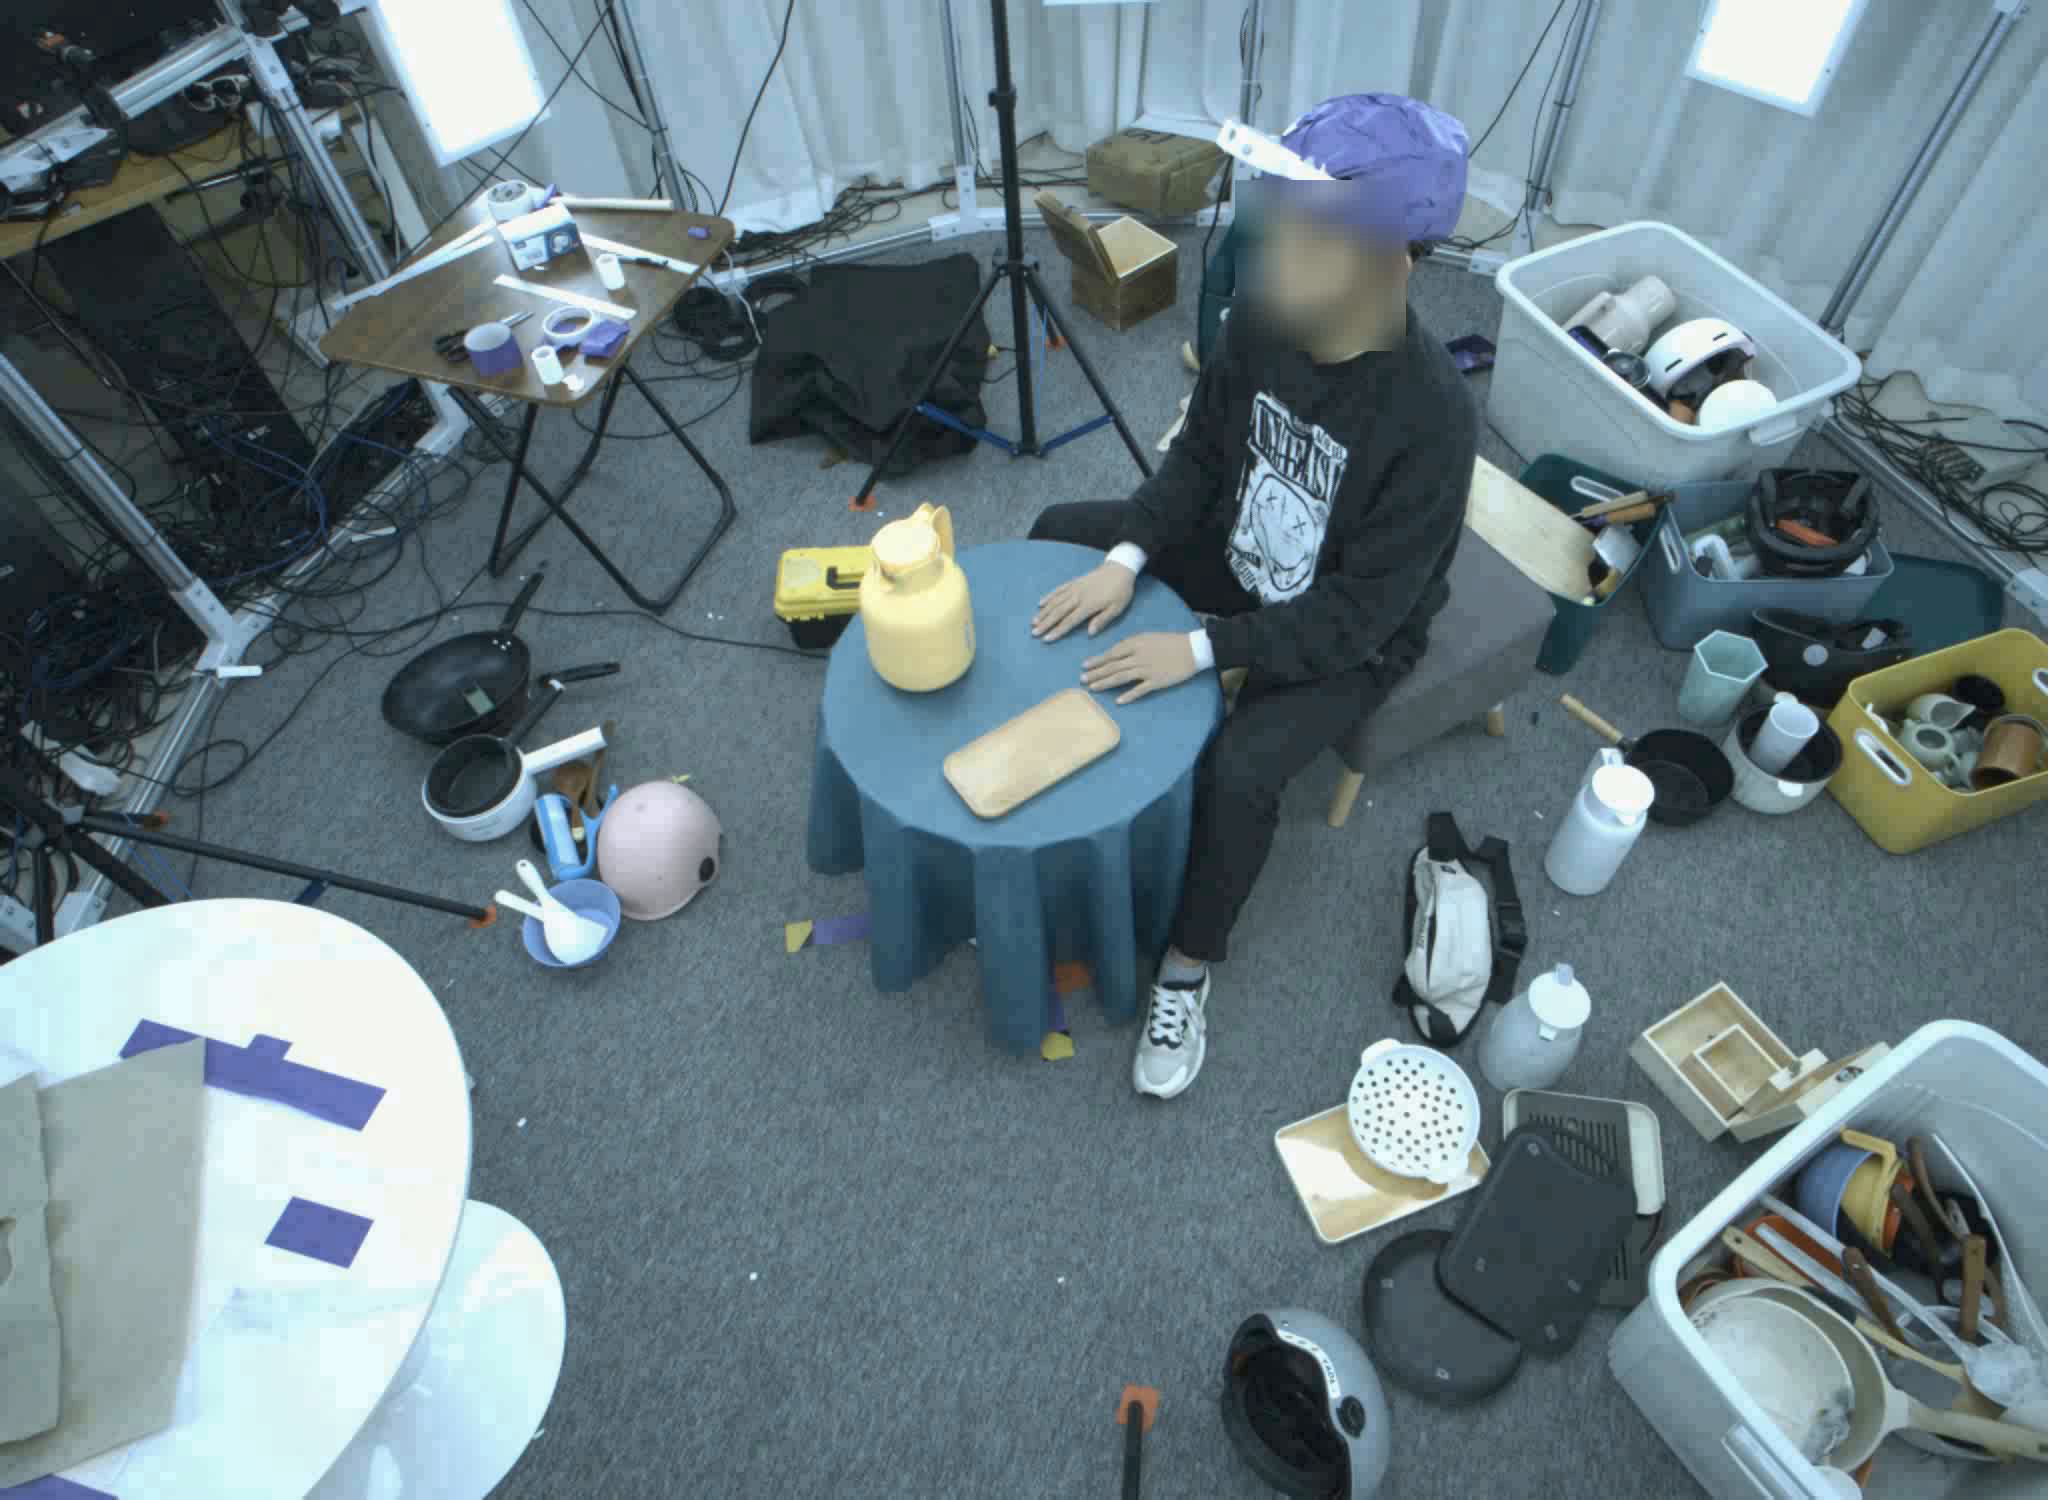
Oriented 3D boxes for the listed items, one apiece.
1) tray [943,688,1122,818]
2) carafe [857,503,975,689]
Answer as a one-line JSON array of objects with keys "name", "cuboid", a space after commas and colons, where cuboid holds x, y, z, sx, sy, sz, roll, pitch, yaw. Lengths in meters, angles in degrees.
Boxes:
[{"name": "tray", "cuboid": [0.013, 0.003, 1.770, 0.253, 0.023, 0.128, -29, 61, -18]}, {"name": "carafe", "cuboid": [-0.152, -0.232, 1.791, 0.162, 0.263, 0.202, 19, 59, 13]}]
